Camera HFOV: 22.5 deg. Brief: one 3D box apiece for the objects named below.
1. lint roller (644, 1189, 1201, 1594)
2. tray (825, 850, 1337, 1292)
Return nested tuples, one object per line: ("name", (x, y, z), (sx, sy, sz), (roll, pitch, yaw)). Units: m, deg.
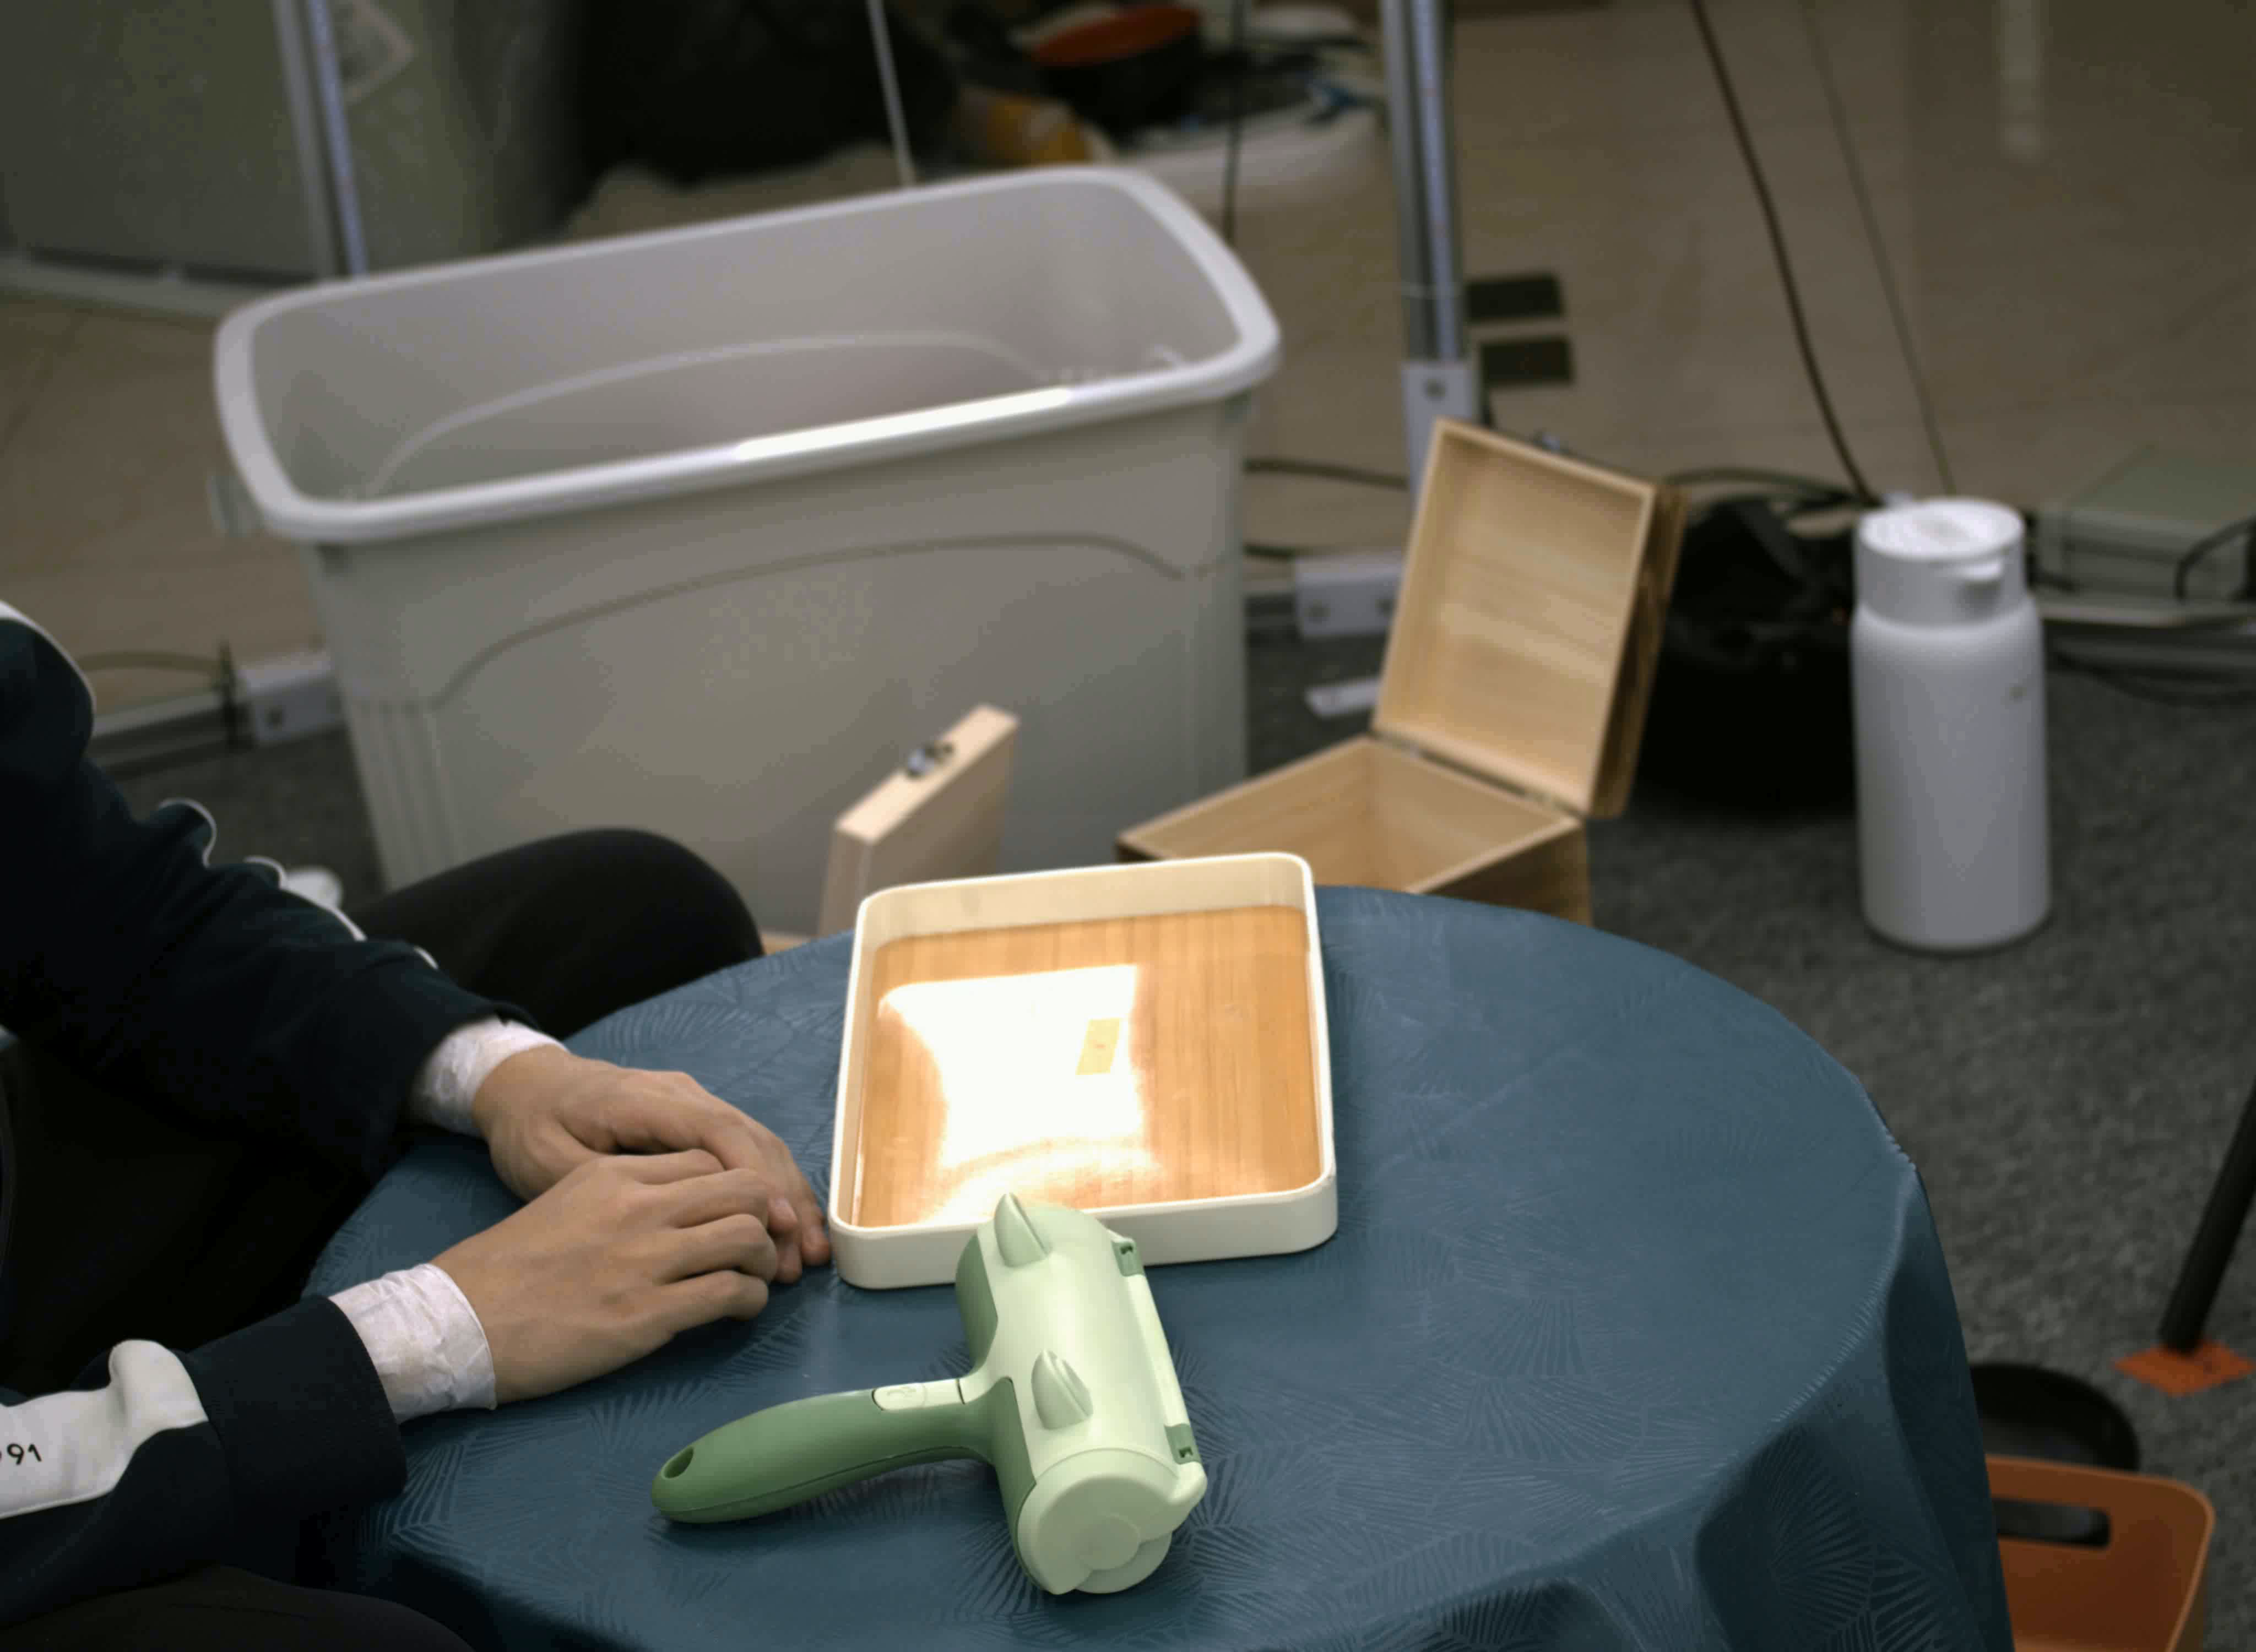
("lint roller", (-0.077, 0.193, 1.956), (0.183, 0.083, 0.196), (-4, 25, -6))
("tray", (-0.017, 0.092, 2.218), (0.191, 0.028, 0.296), (-6, 25, 3))
